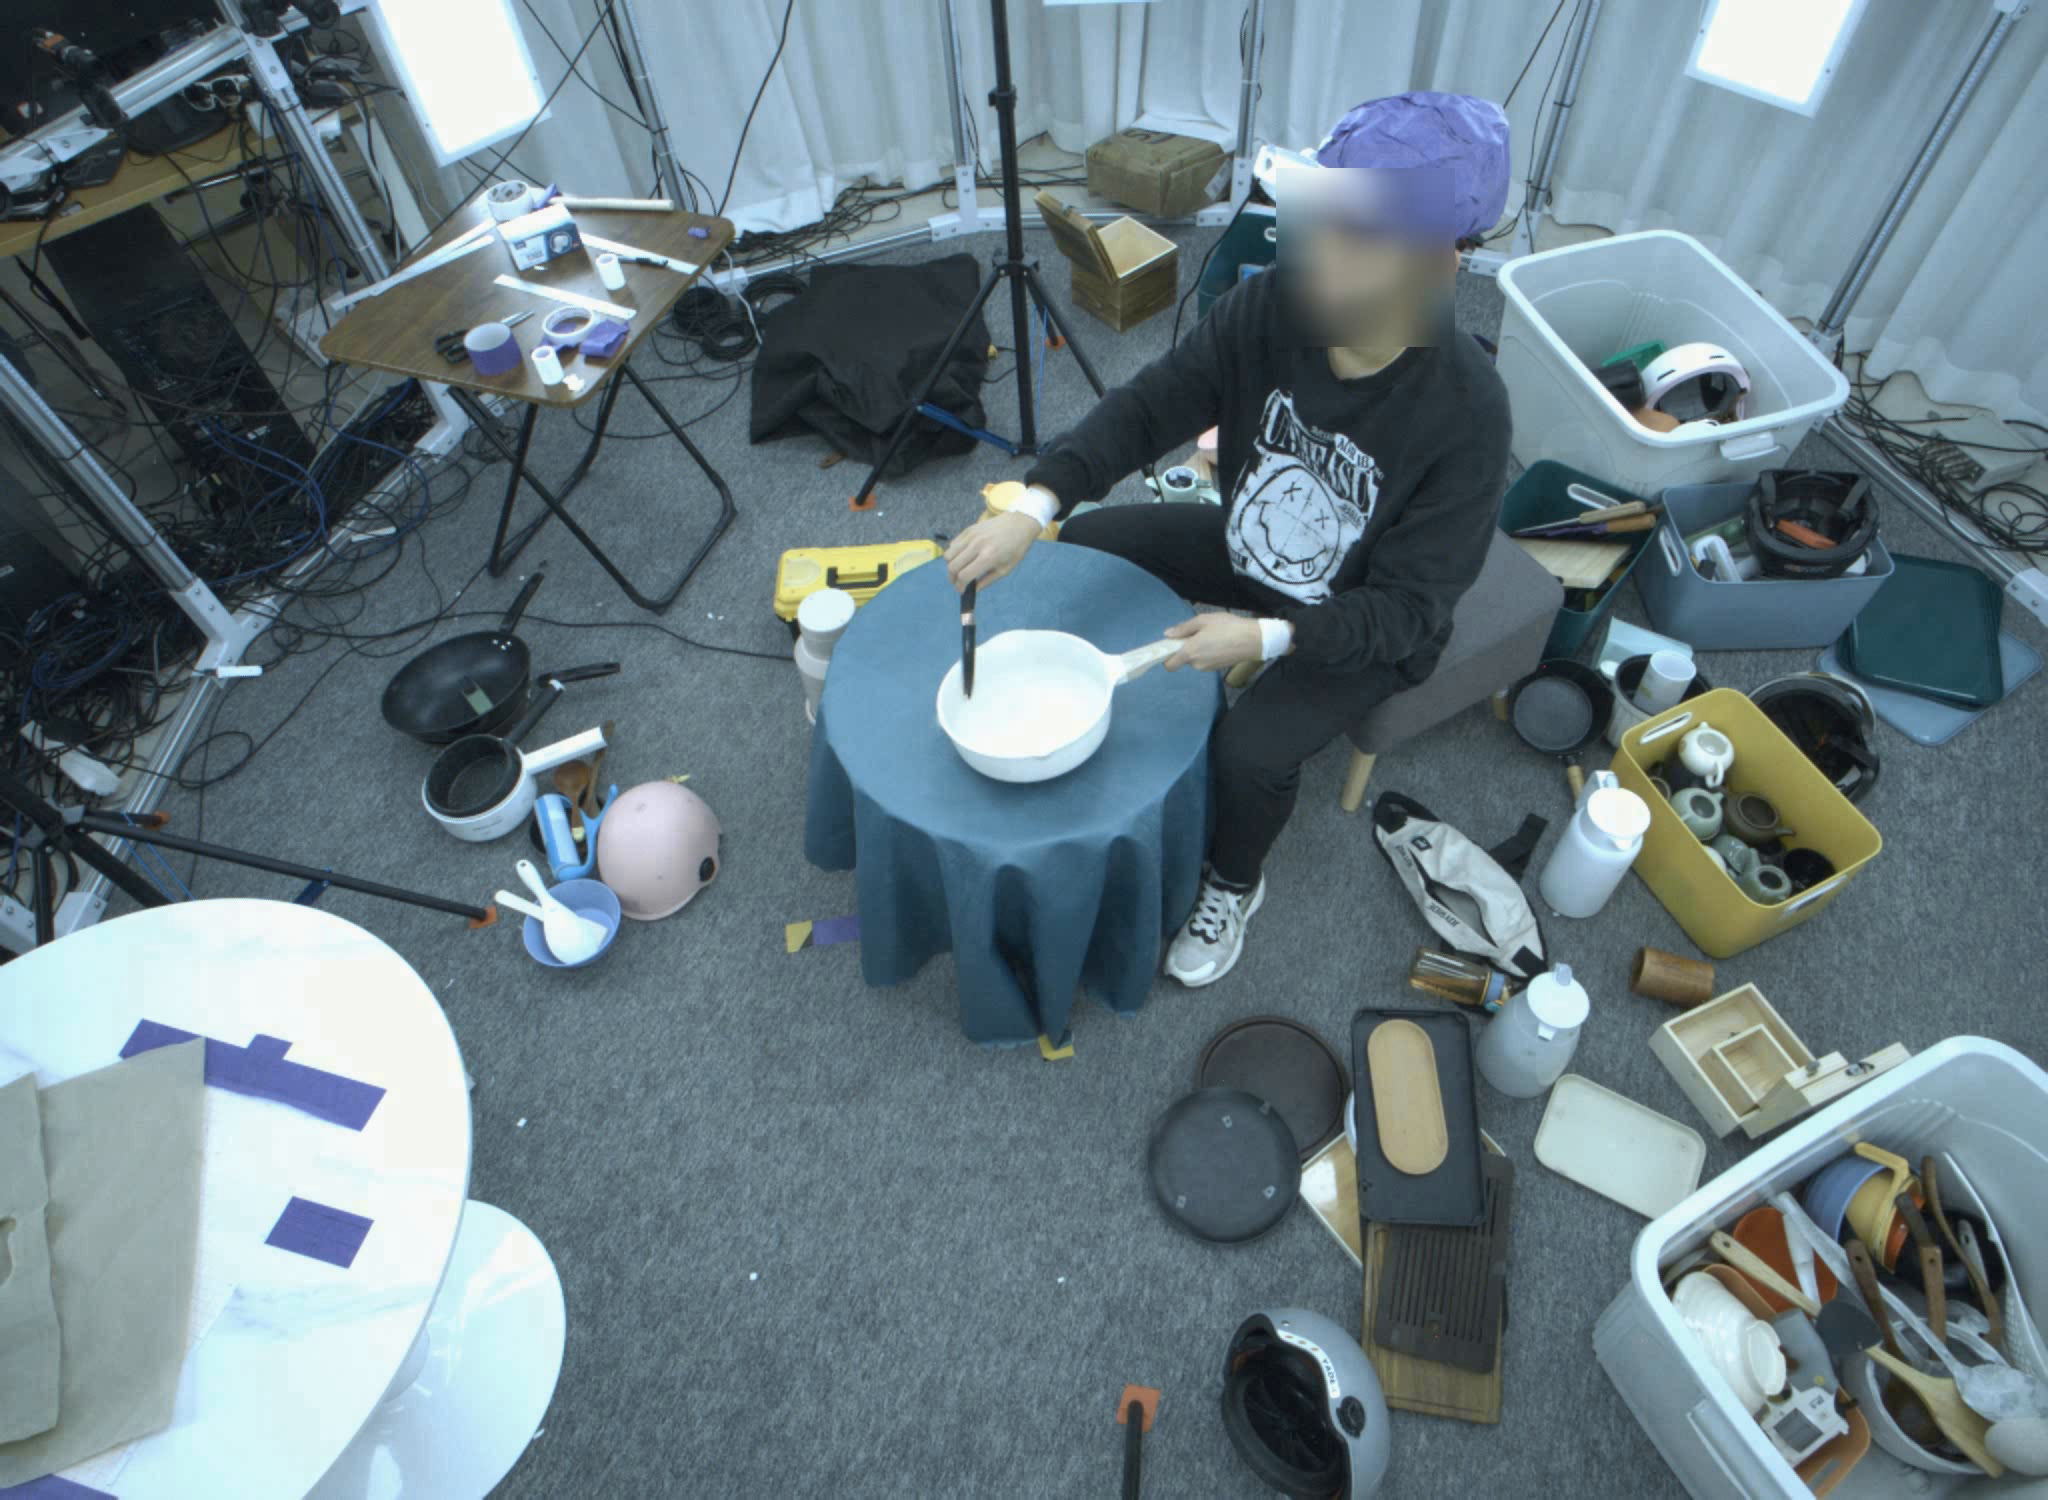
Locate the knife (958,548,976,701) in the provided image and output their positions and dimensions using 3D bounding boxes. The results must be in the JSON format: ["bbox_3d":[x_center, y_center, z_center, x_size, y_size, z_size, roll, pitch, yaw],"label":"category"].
[{"bbox_3d":[-0.082,-0.180,1.778,0.017,0.227,0.026,14,22,42],"label":"knife"}]

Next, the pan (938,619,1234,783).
[{"bbox_3d":[0.095,-0.085,1.754,0.436,0.103,0.259,-16,46,-3],"label":"pan"}]
